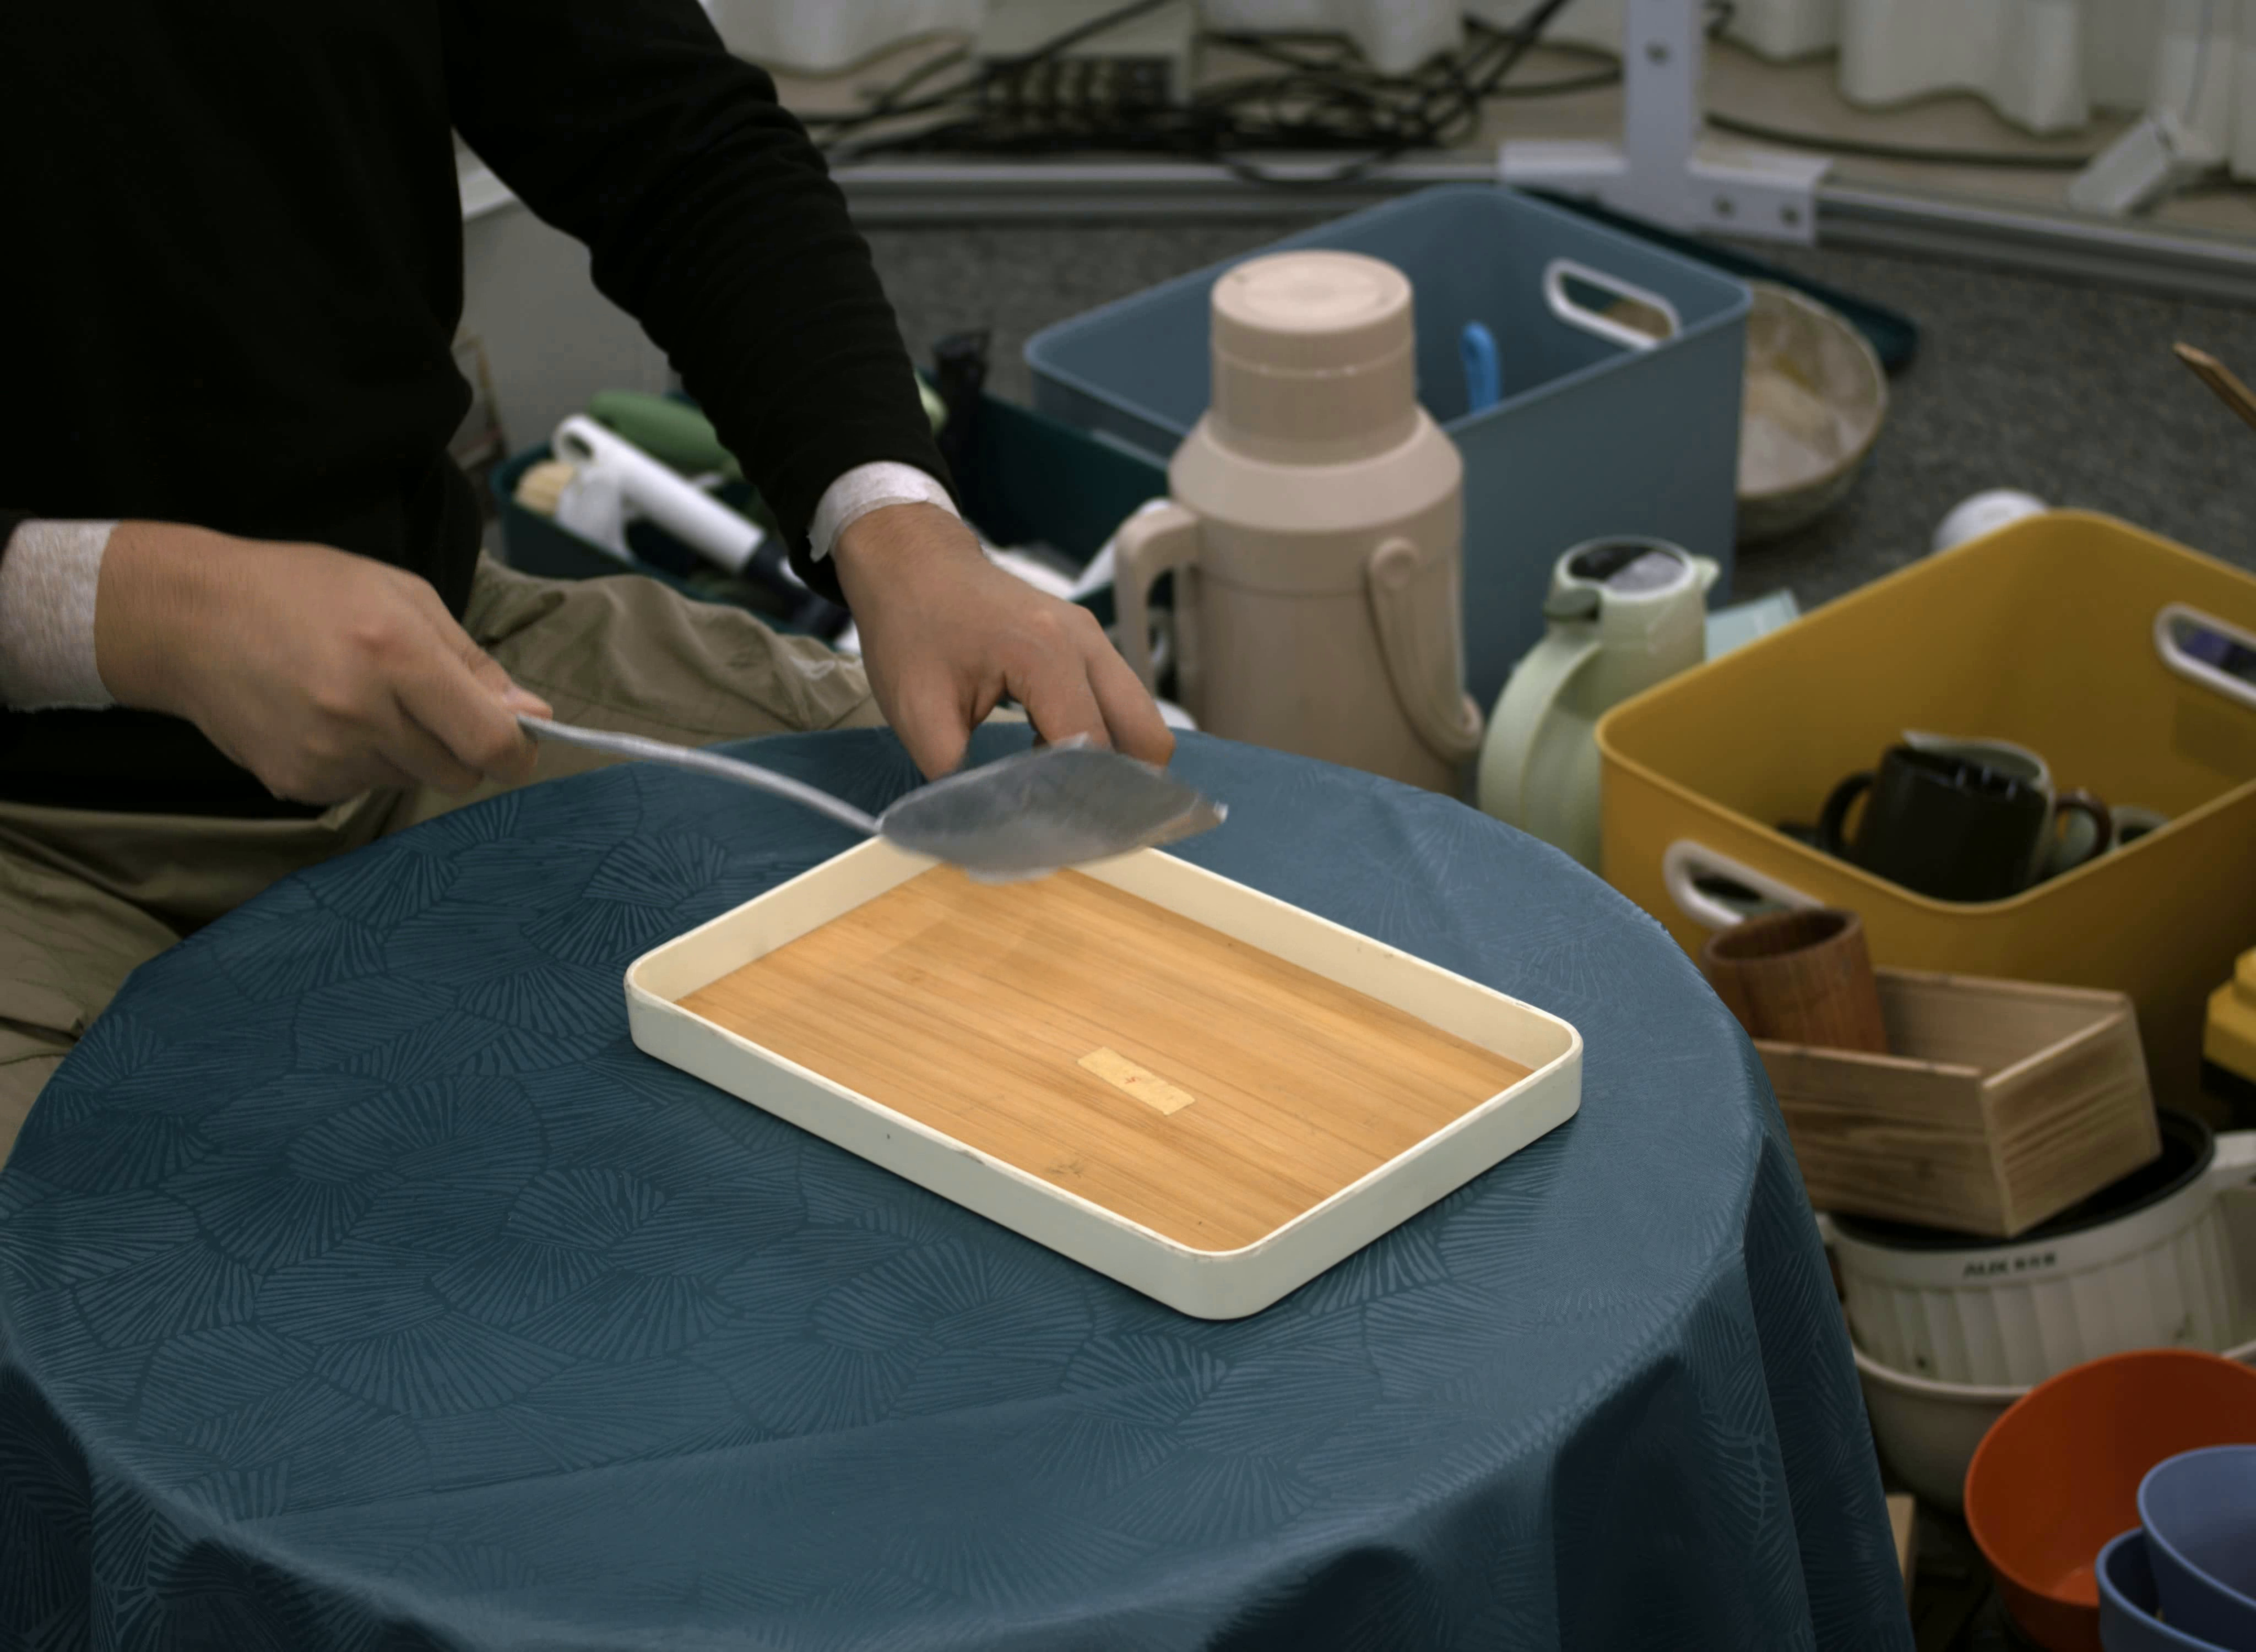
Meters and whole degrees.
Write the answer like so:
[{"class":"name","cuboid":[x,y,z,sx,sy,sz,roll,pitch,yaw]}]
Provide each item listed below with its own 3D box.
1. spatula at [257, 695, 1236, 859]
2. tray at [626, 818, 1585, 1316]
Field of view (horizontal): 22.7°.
[{"class":"spatula","cuboid":[-0.138,-0.028,1.823,0.362,0.045,0.098,10,-13,28]},{"class":"tray","cuboid":[-0.010,0.073,1.927,0.300,0.027,0.194,22,37,40]}]
